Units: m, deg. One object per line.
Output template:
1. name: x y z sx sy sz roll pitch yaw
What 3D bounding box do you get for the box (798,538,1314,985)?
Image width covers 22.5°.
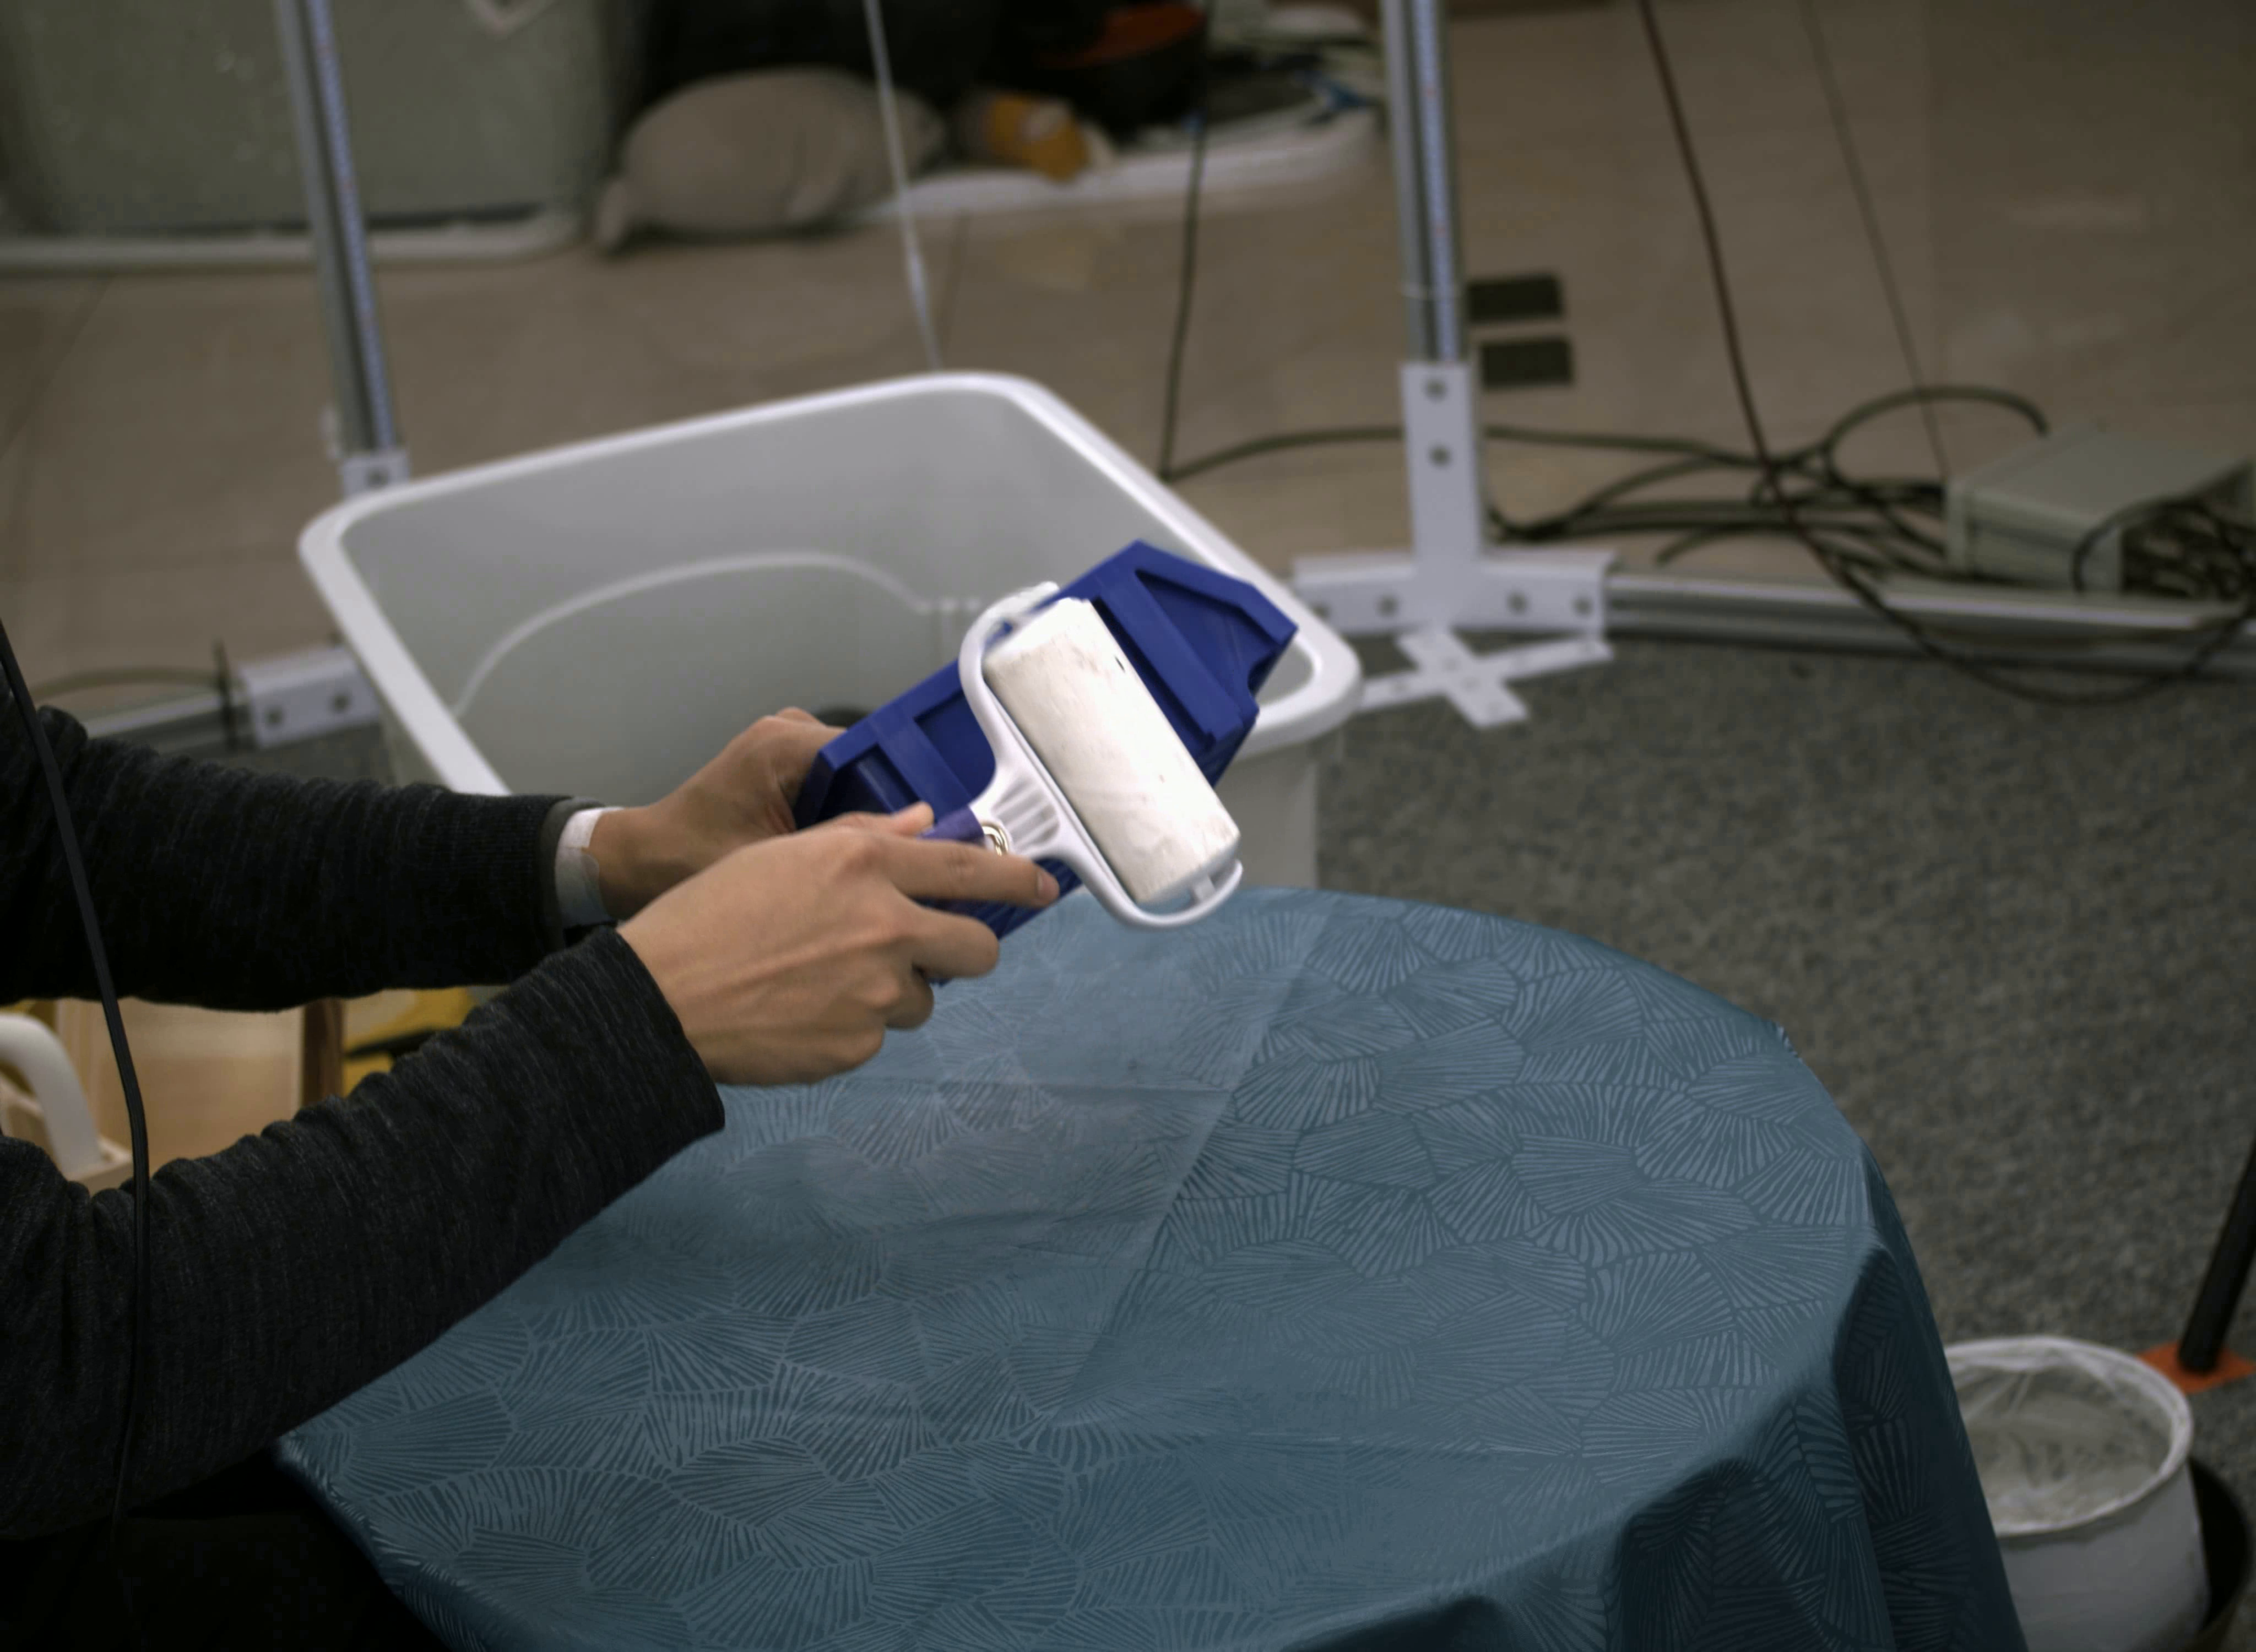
1. box: -0.024 -0.026 2.127 0.178 0.081 0.126 -37 -7 -19

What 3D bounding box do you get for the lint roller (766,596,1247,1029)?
1. lint roller: -0.051 0.012 1.970 0.179 0.133 0.050 -36 10 -28
